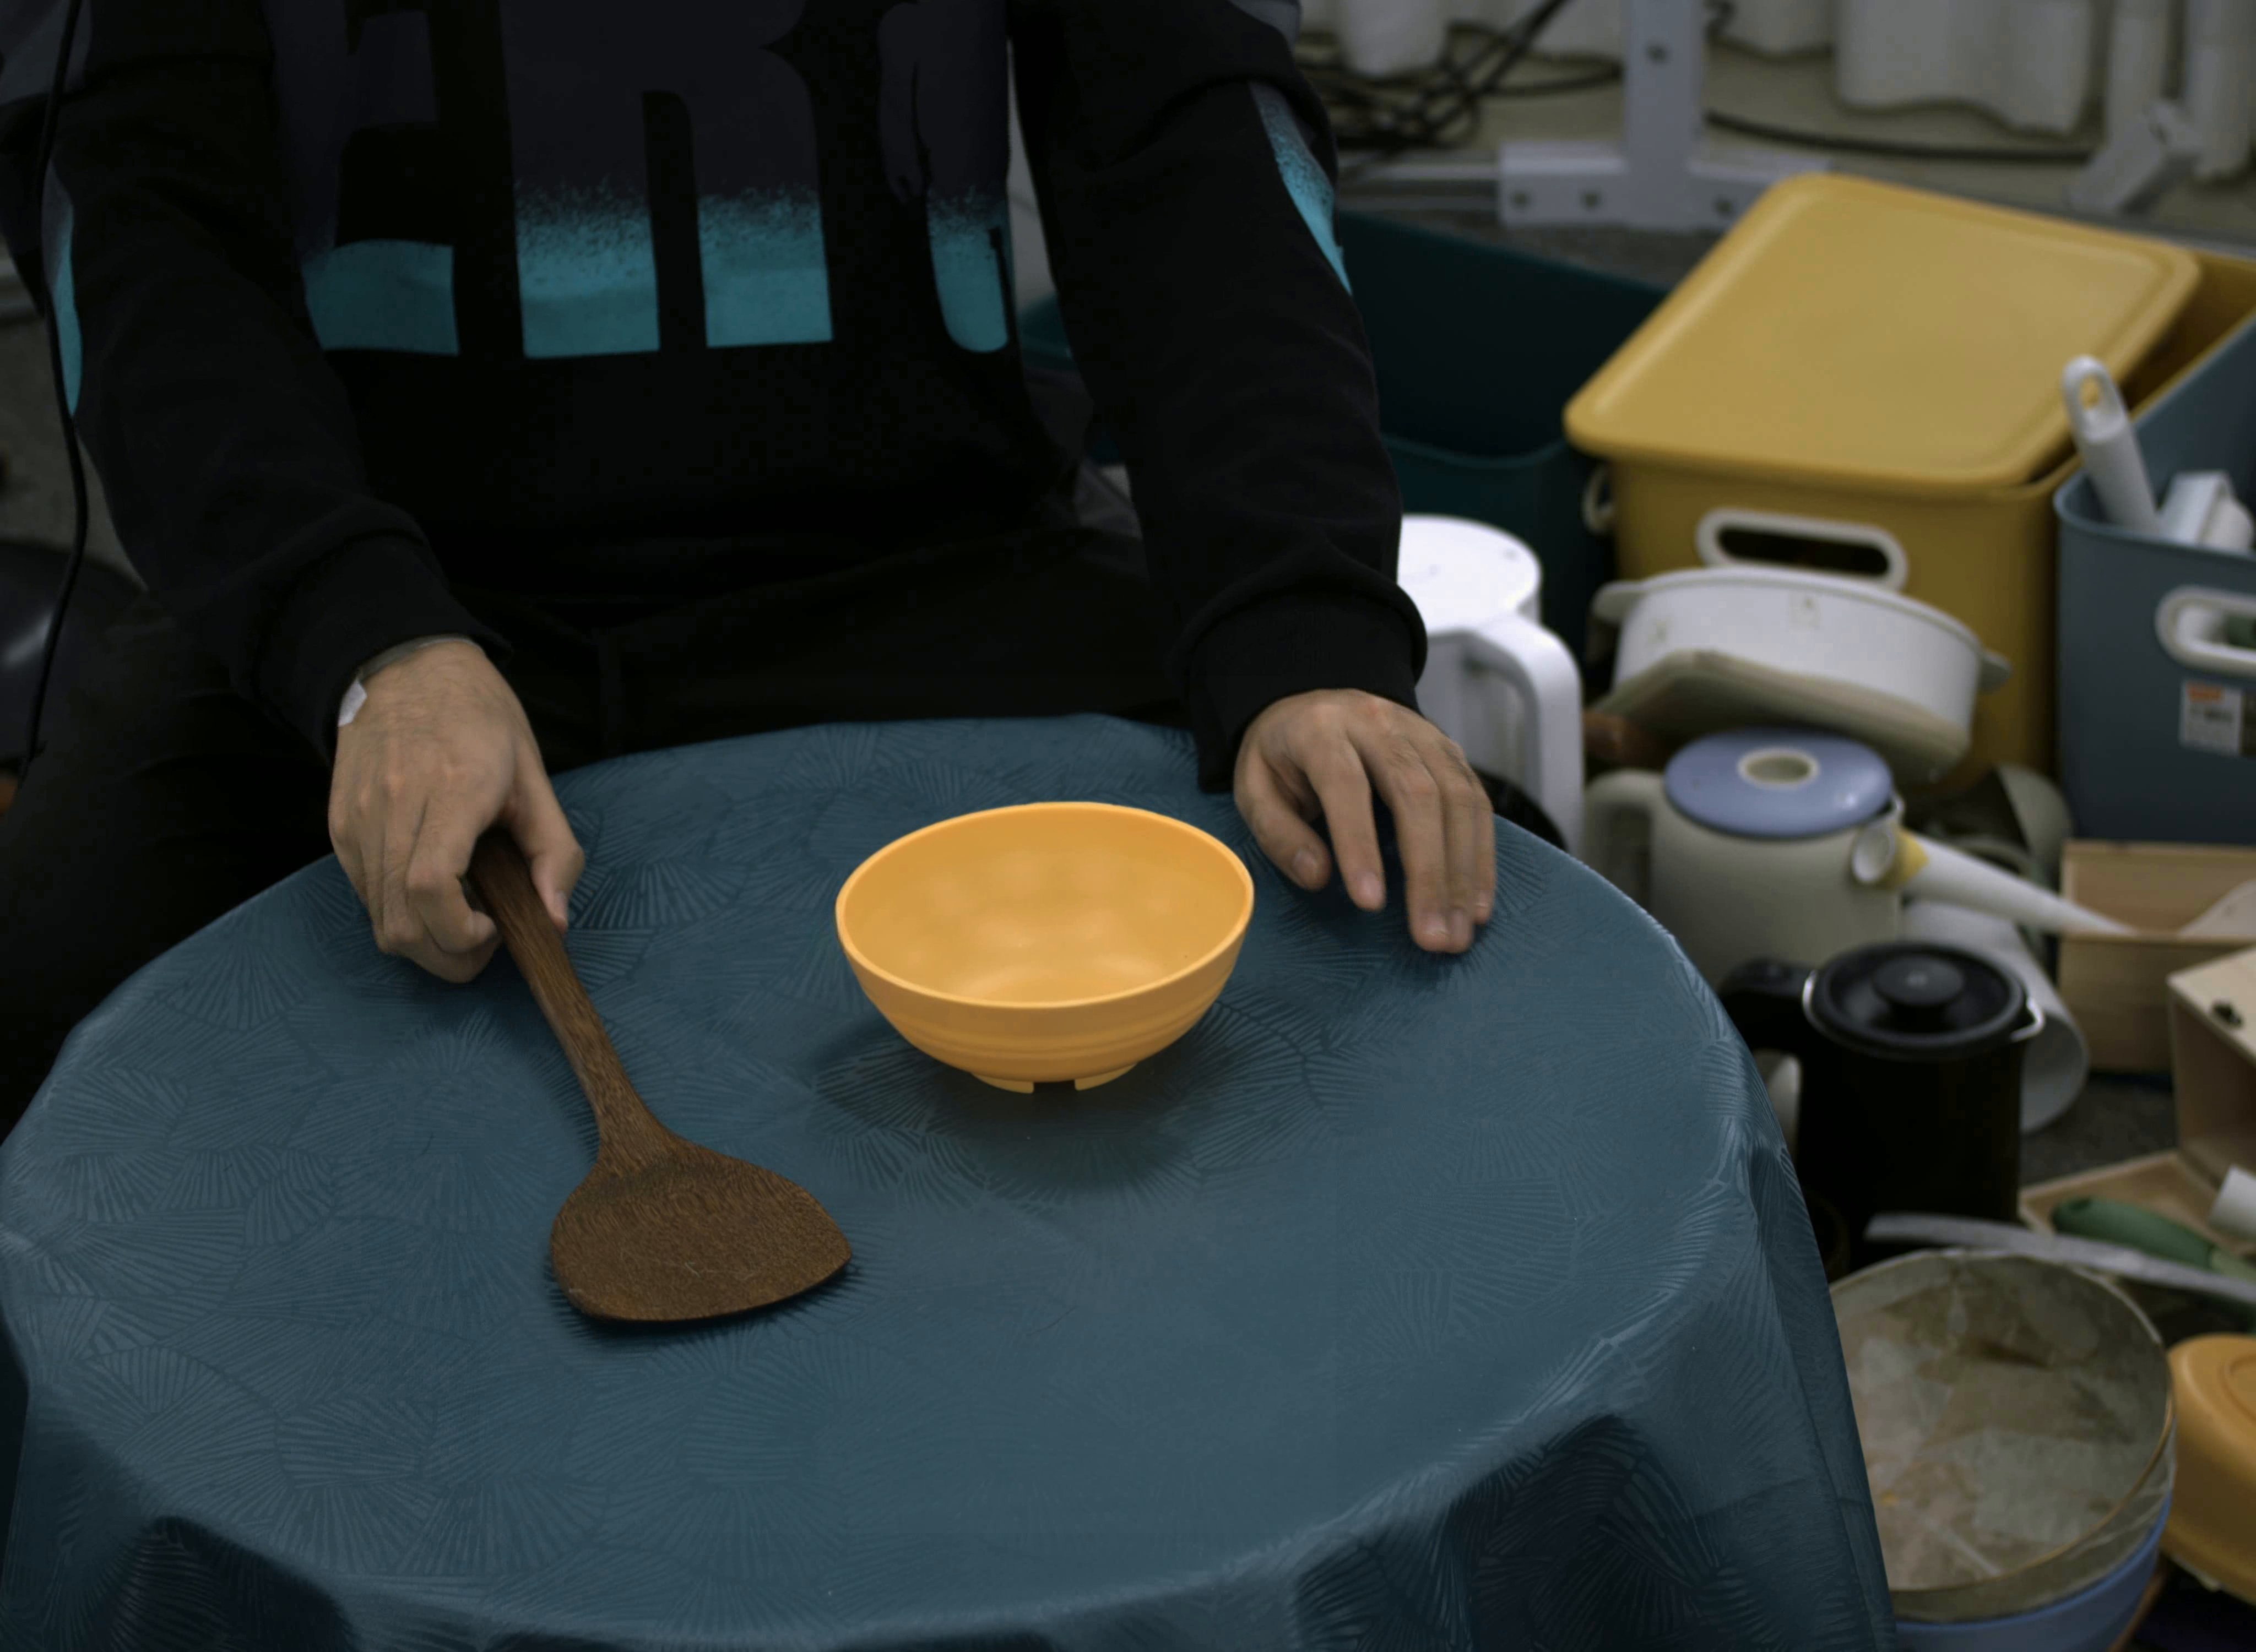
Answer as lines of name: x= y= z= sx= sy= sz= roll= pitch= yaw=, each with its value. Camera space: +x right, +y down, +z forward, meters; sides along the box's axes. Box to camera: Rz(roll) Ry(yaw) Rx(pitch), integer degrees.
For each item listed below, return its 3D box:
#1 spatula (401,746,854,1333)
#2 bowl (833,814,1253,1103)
spatula: x=-0.194 y=0.065 z=1.951 sx=0.096 sy=0.015 sz=0.390 roll=-10 pitch=33 yaw=-18
bowl: x=-0.029 y=0.054 z=1.937 sx=0.144 sy=0.059 sz=0.147 roll=0 pitch=26 yaw=0
